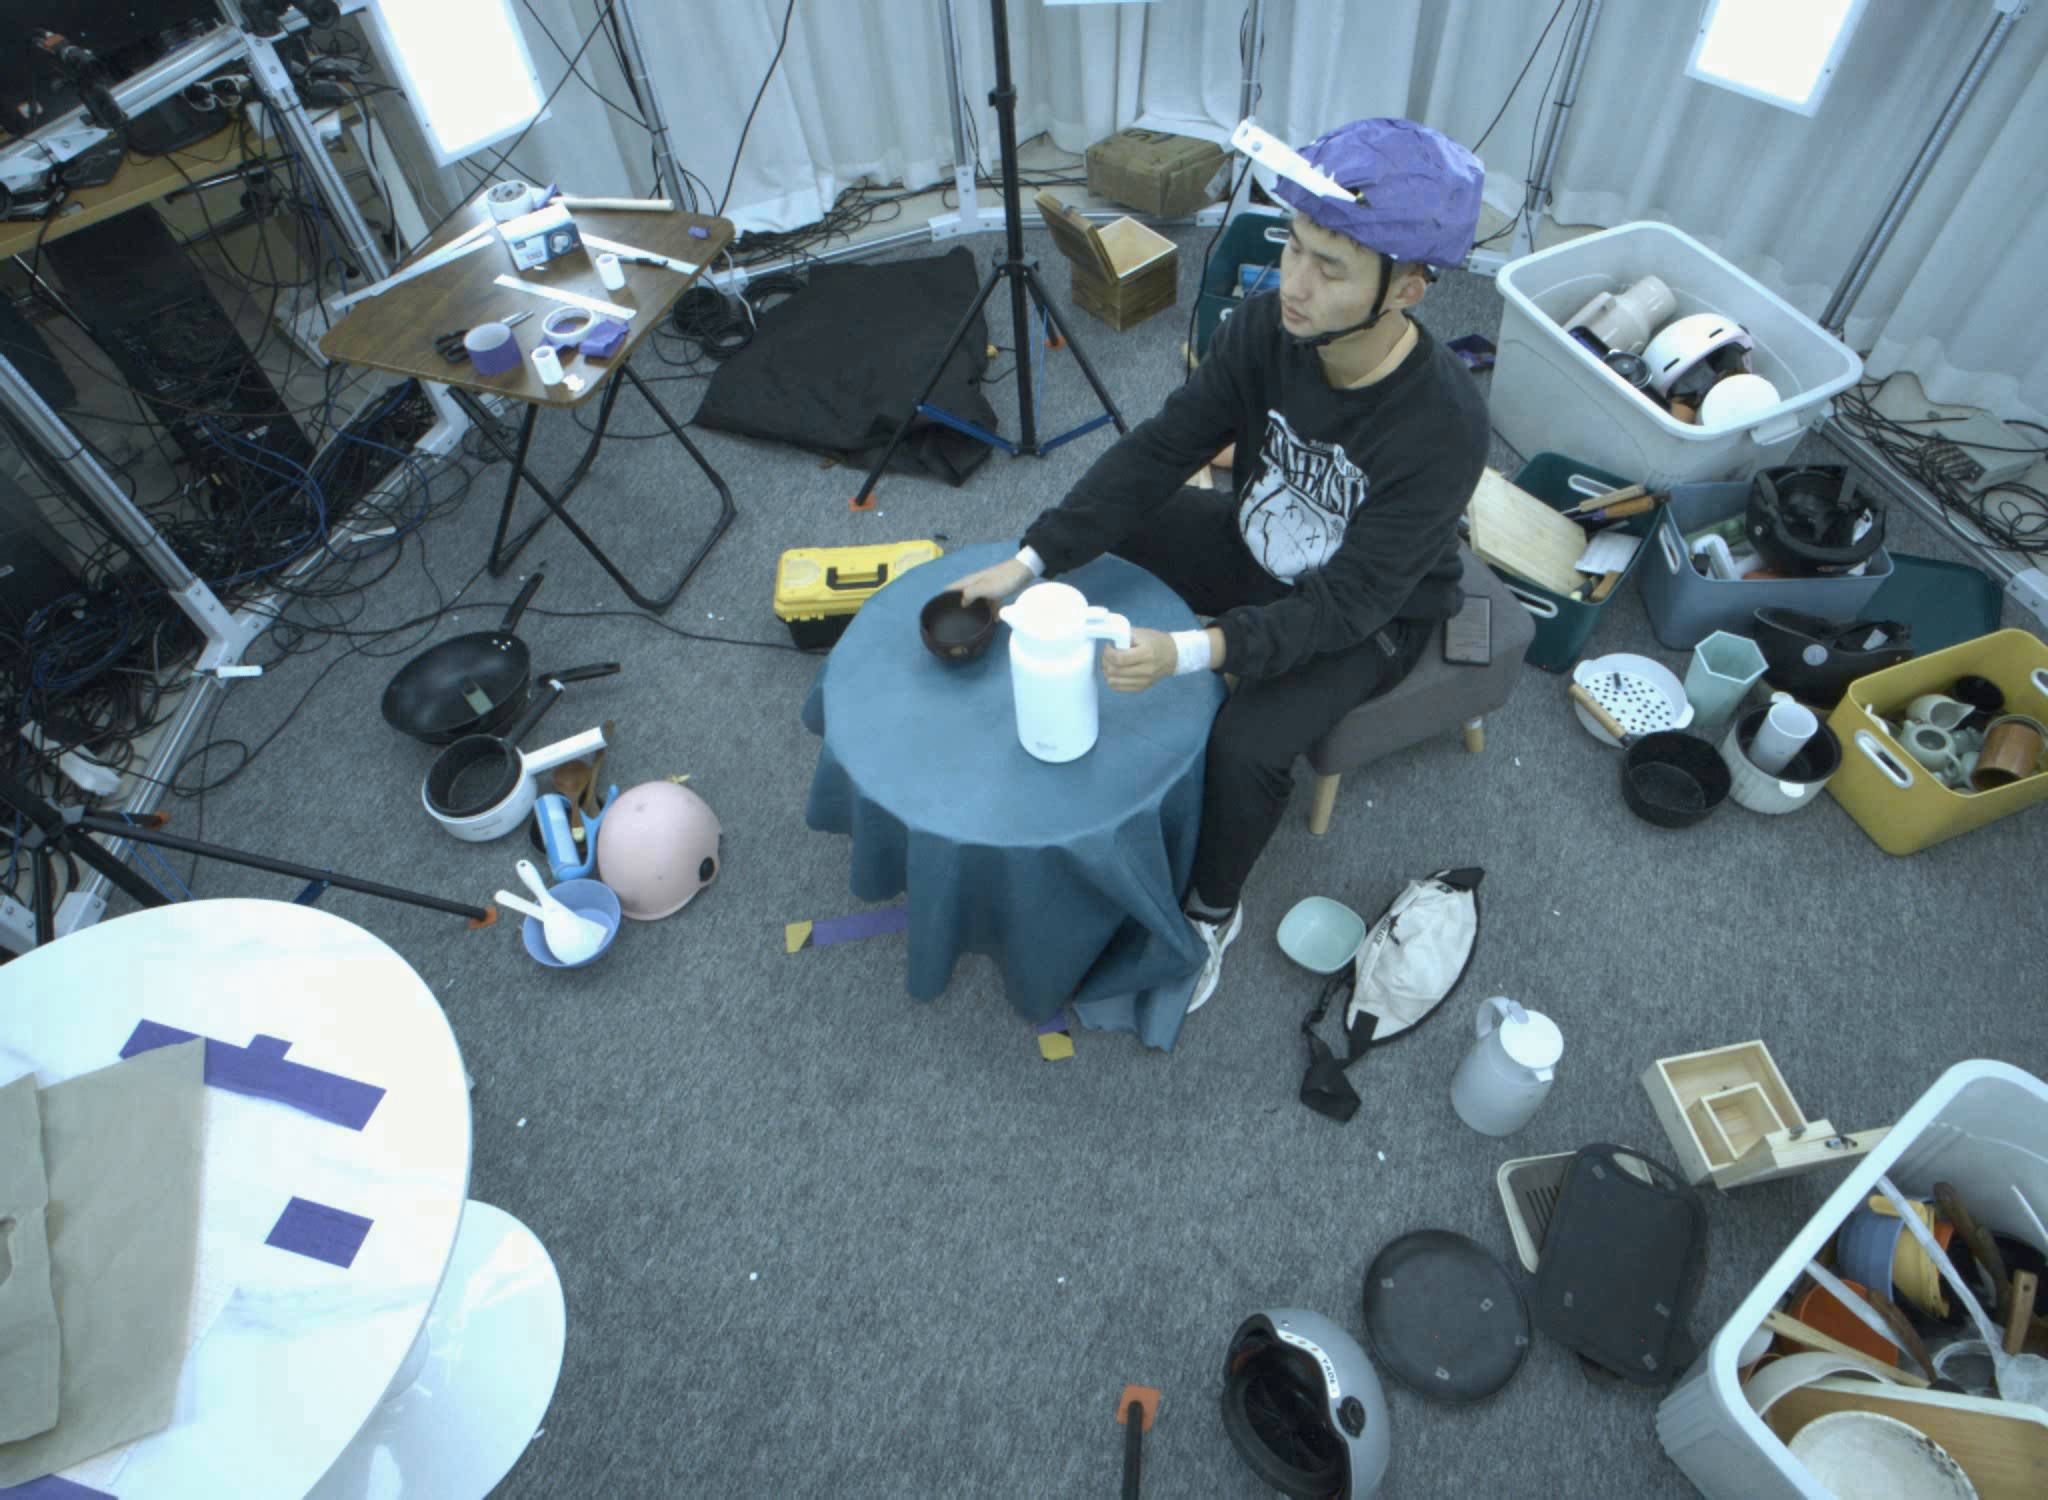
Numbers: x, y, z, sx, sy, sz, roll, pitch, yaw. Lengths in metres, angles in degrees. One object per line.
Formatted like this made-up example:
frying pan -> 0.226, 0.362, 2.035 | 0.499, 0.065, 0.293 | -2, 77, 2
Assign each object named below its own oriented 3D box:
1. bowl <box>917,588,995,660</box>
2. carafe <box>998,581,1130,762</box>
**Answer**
bowl -> -0.103, -0.184, 1.870 | 0.118, 0.070, 0.117 | -1, 50, 2
carafe -> 0.059, -0.104, 1.691 | 0.172, 0.272, 0.123 | 2, 53, 5
